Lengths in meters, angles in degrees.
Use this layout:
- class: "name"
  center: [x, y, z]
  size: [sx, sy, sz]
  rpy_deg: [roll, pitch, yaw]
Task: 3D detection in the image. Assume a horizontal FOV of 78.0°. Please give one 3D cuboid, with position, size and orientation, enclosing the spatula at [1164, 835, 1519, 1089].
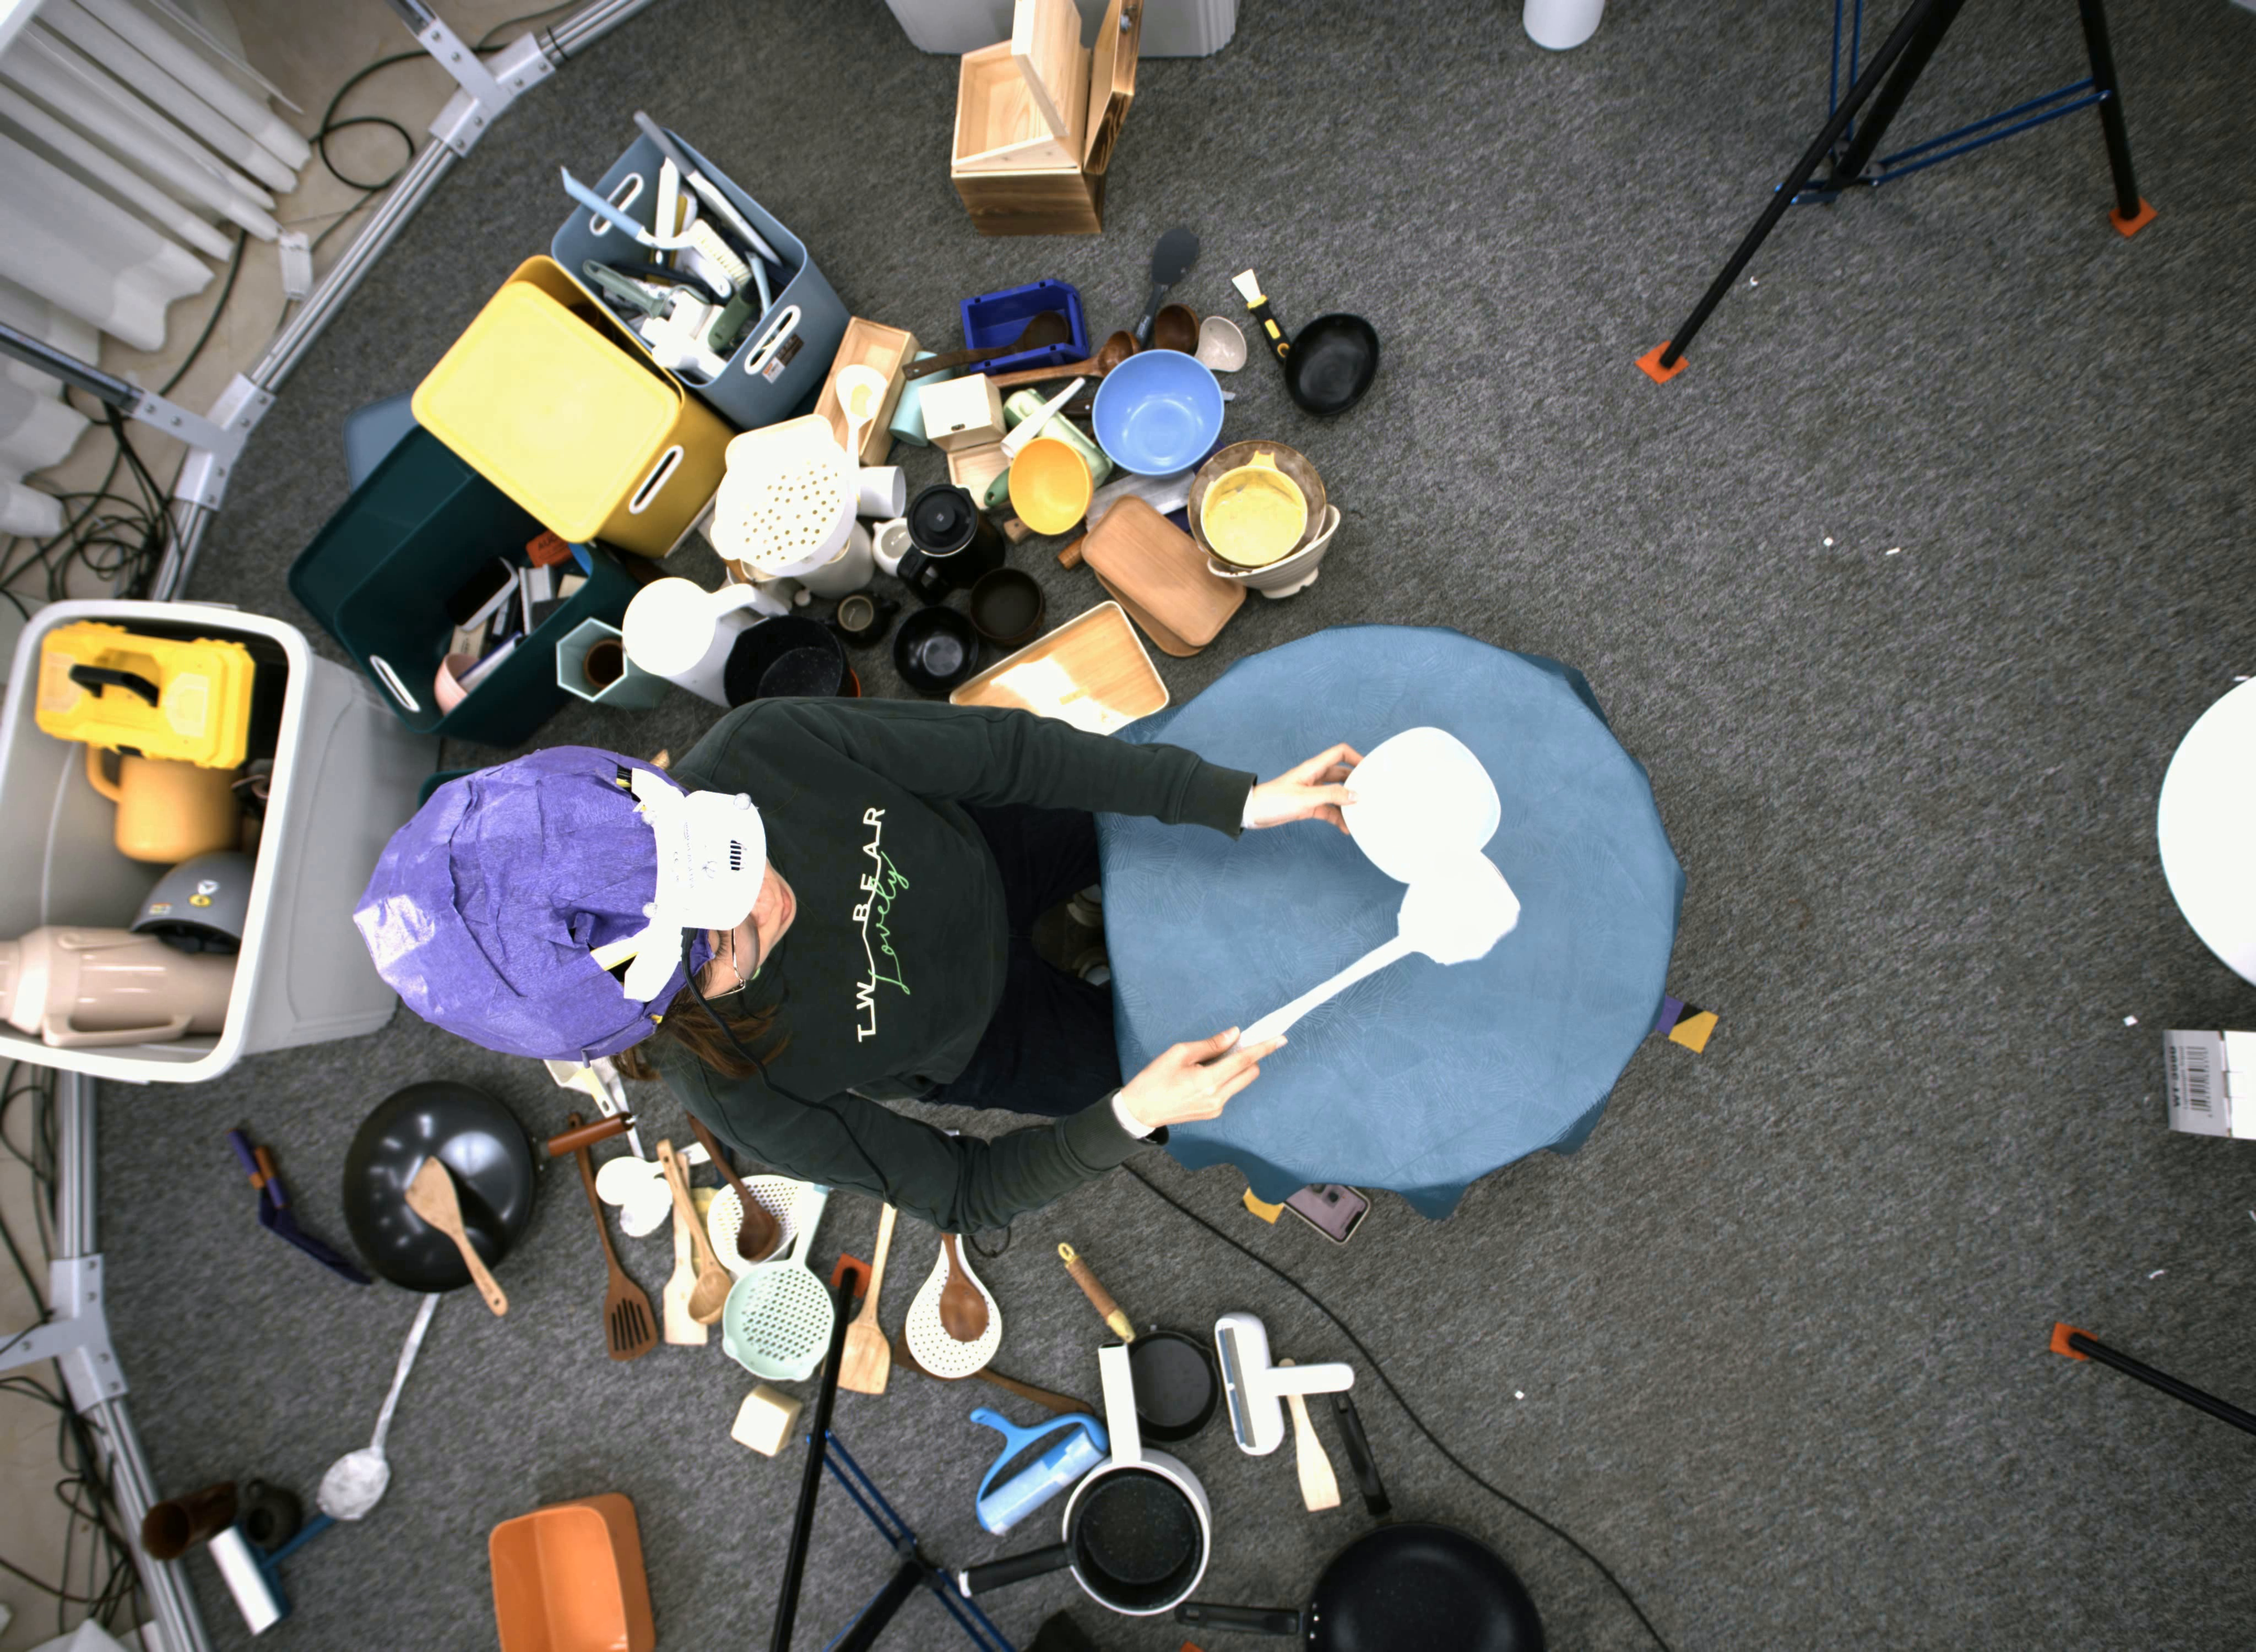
- class: "spatula"
  center: [0.185, 0.140, 1.257]
  size: [0.366, 0.045, 0.097]
  rpy_deg: [-33, 65, 5]

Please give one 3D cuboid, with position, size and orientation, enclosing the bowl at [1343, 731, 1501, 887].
- class: "bowl"
  center: [0.284, -0.020, 1.346]
  size: [0.152, 0.058, 0.152]
  rpy_deg: [1, 99, 6]
